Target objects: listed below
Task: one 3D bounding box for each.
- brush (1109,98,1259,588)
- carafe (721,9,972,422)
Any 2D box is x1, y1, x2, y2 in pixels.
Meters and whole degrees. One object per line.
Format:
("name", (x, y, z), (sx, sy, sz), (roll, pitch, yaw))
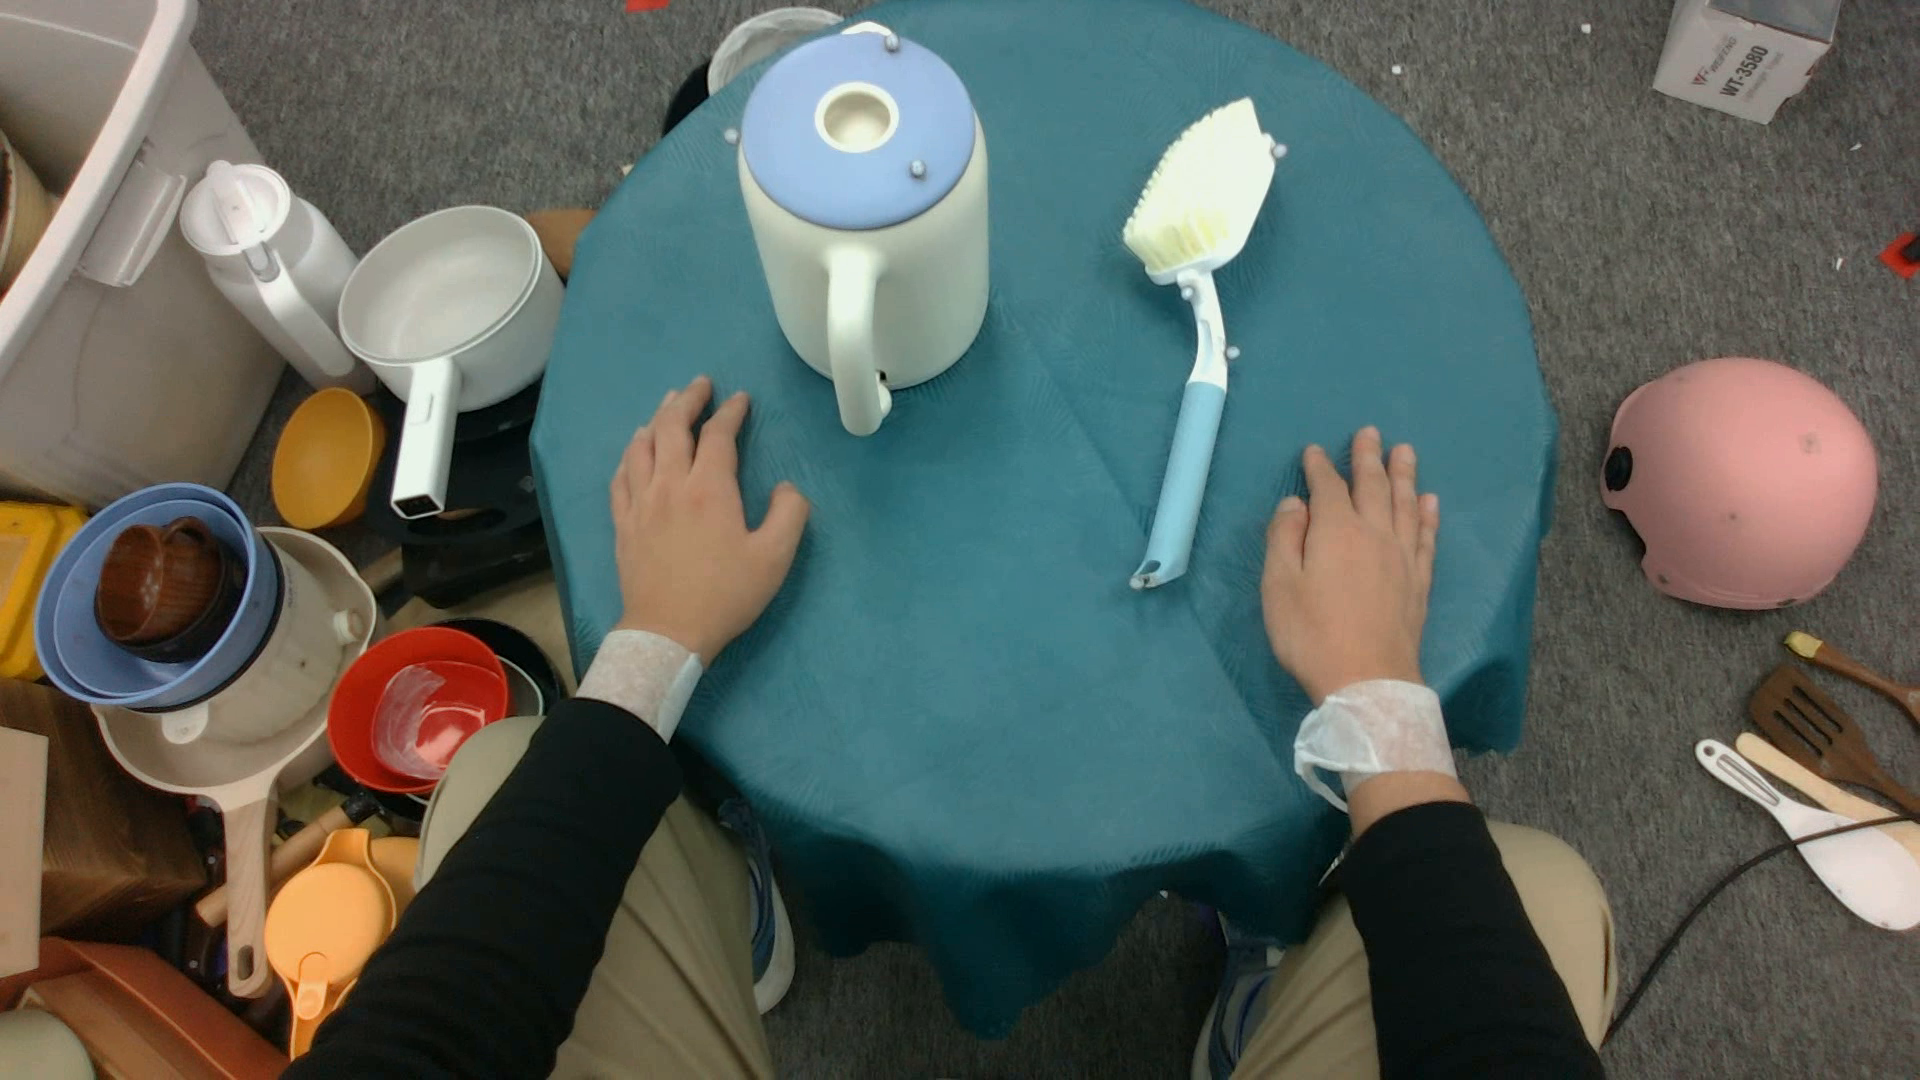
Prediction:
("brush", (0.117, -0.131, 0.796), (0.084, 0.083, 0.326), (16, 68, 0))
("carafe", (-0.059, -0.163, 0.761), (0.132, 0.182, 0.191), (0, 70, 1))
